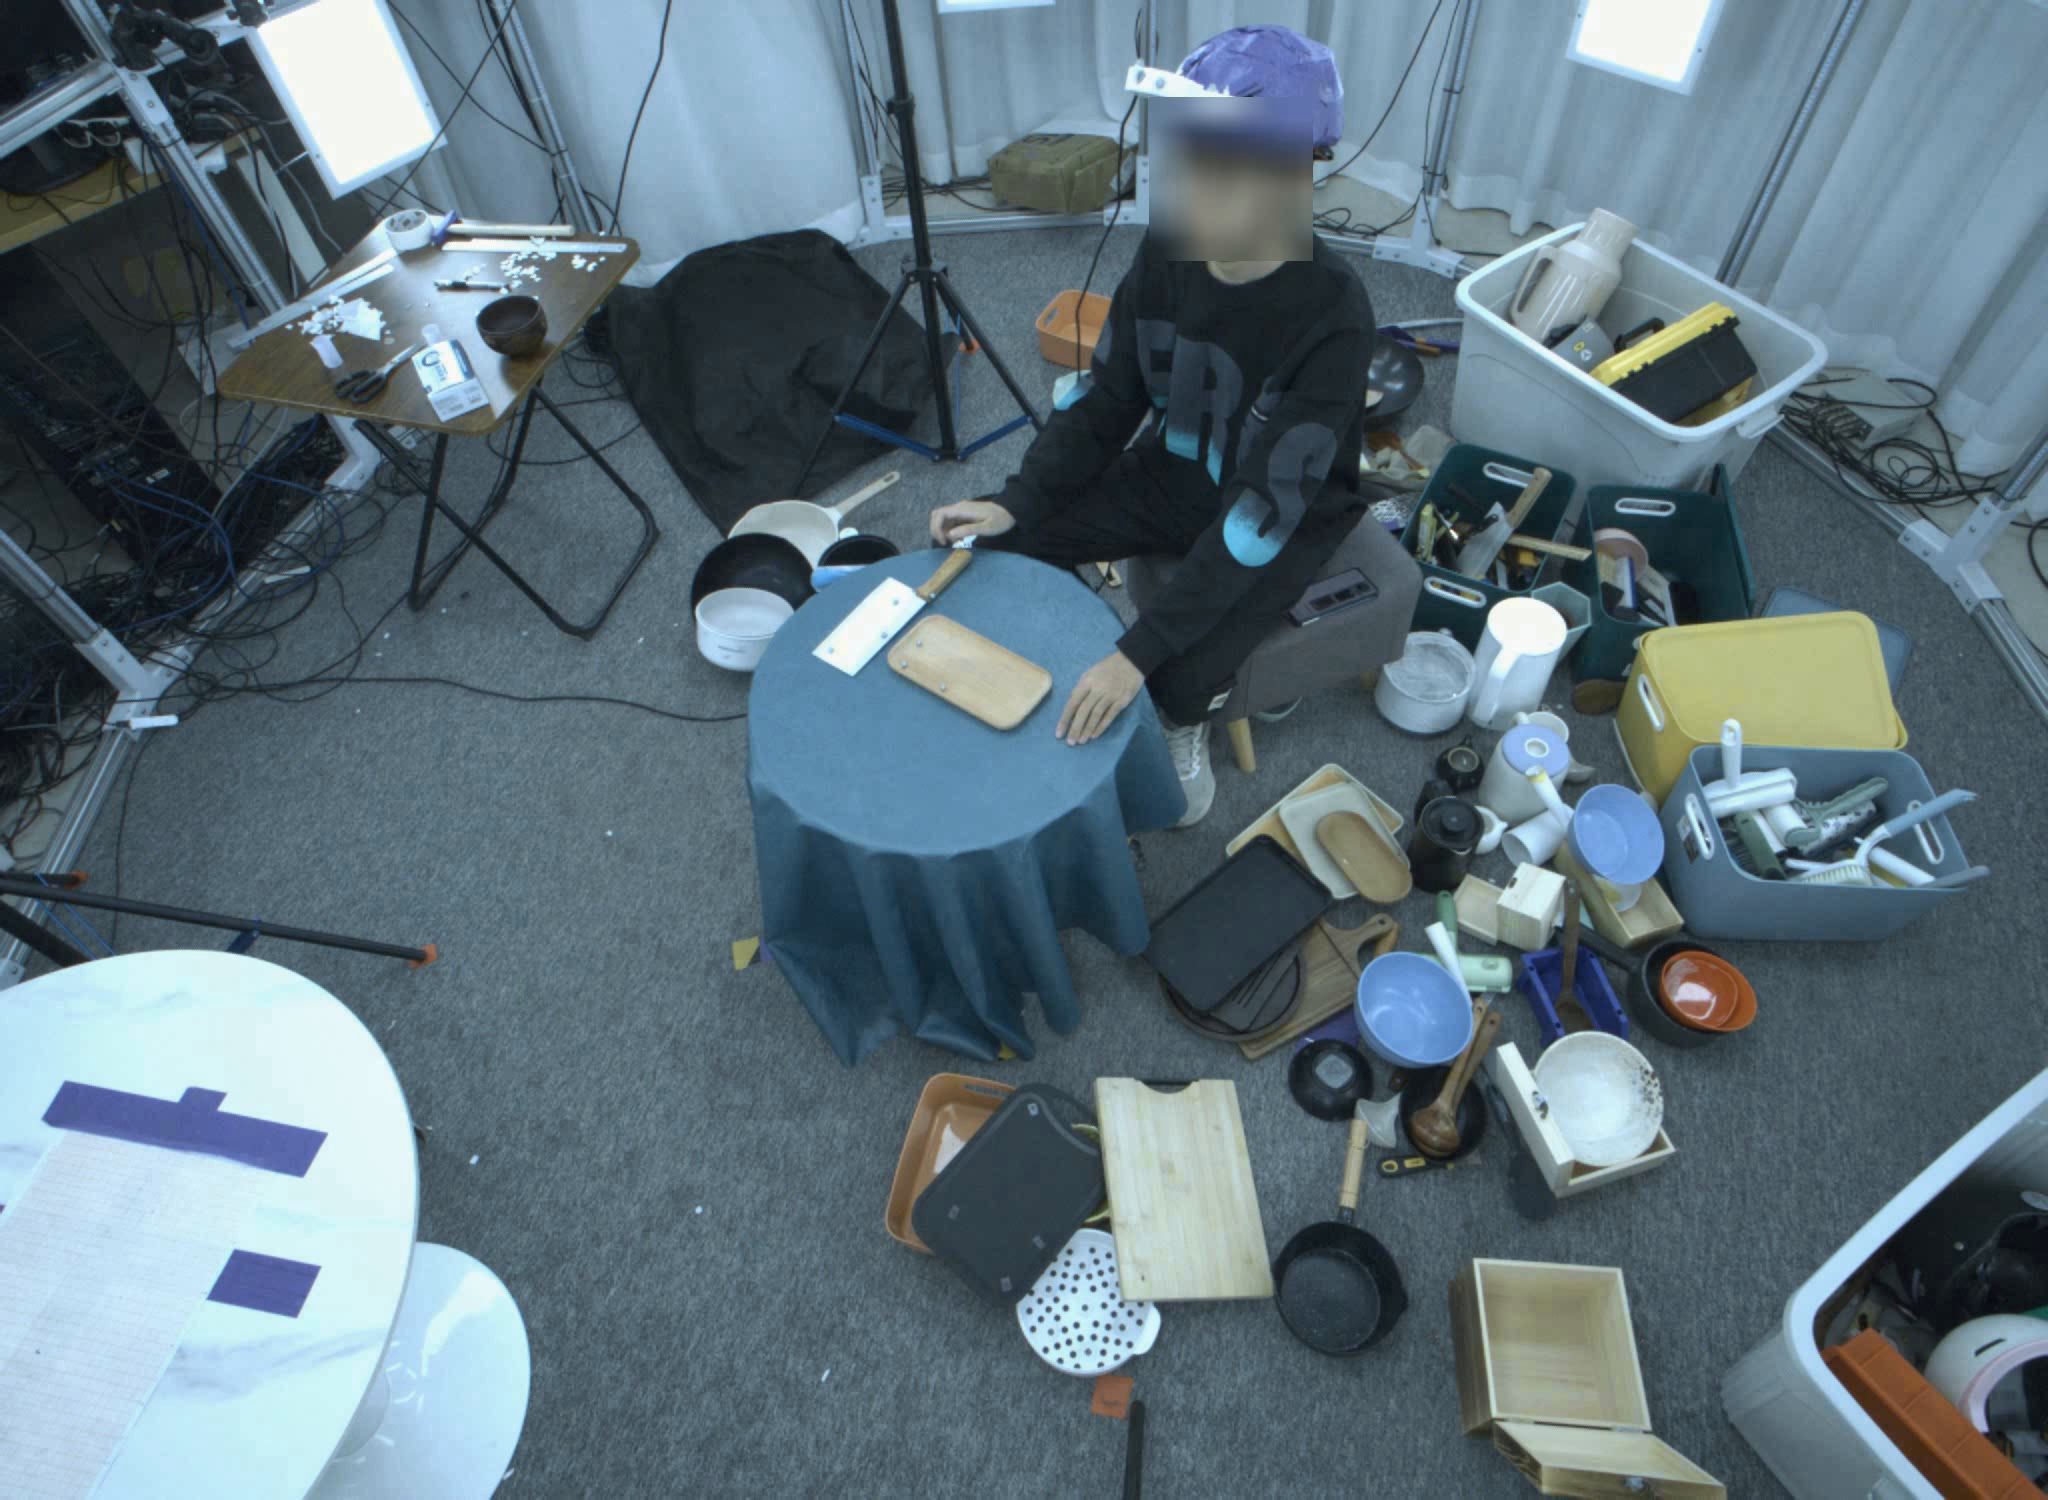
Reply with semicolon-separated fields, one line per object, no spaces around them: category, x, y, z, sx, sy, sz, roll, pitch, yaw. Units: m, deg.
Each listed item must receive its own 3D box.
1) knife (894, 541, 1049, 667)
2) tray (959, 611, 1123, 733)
knife;-0.087;-0.245;1.954;0.091;0.021;0.307;34;65;25
tray;0.024;-0.120;1.861;0.246;0.023;0.131;36;66;23
